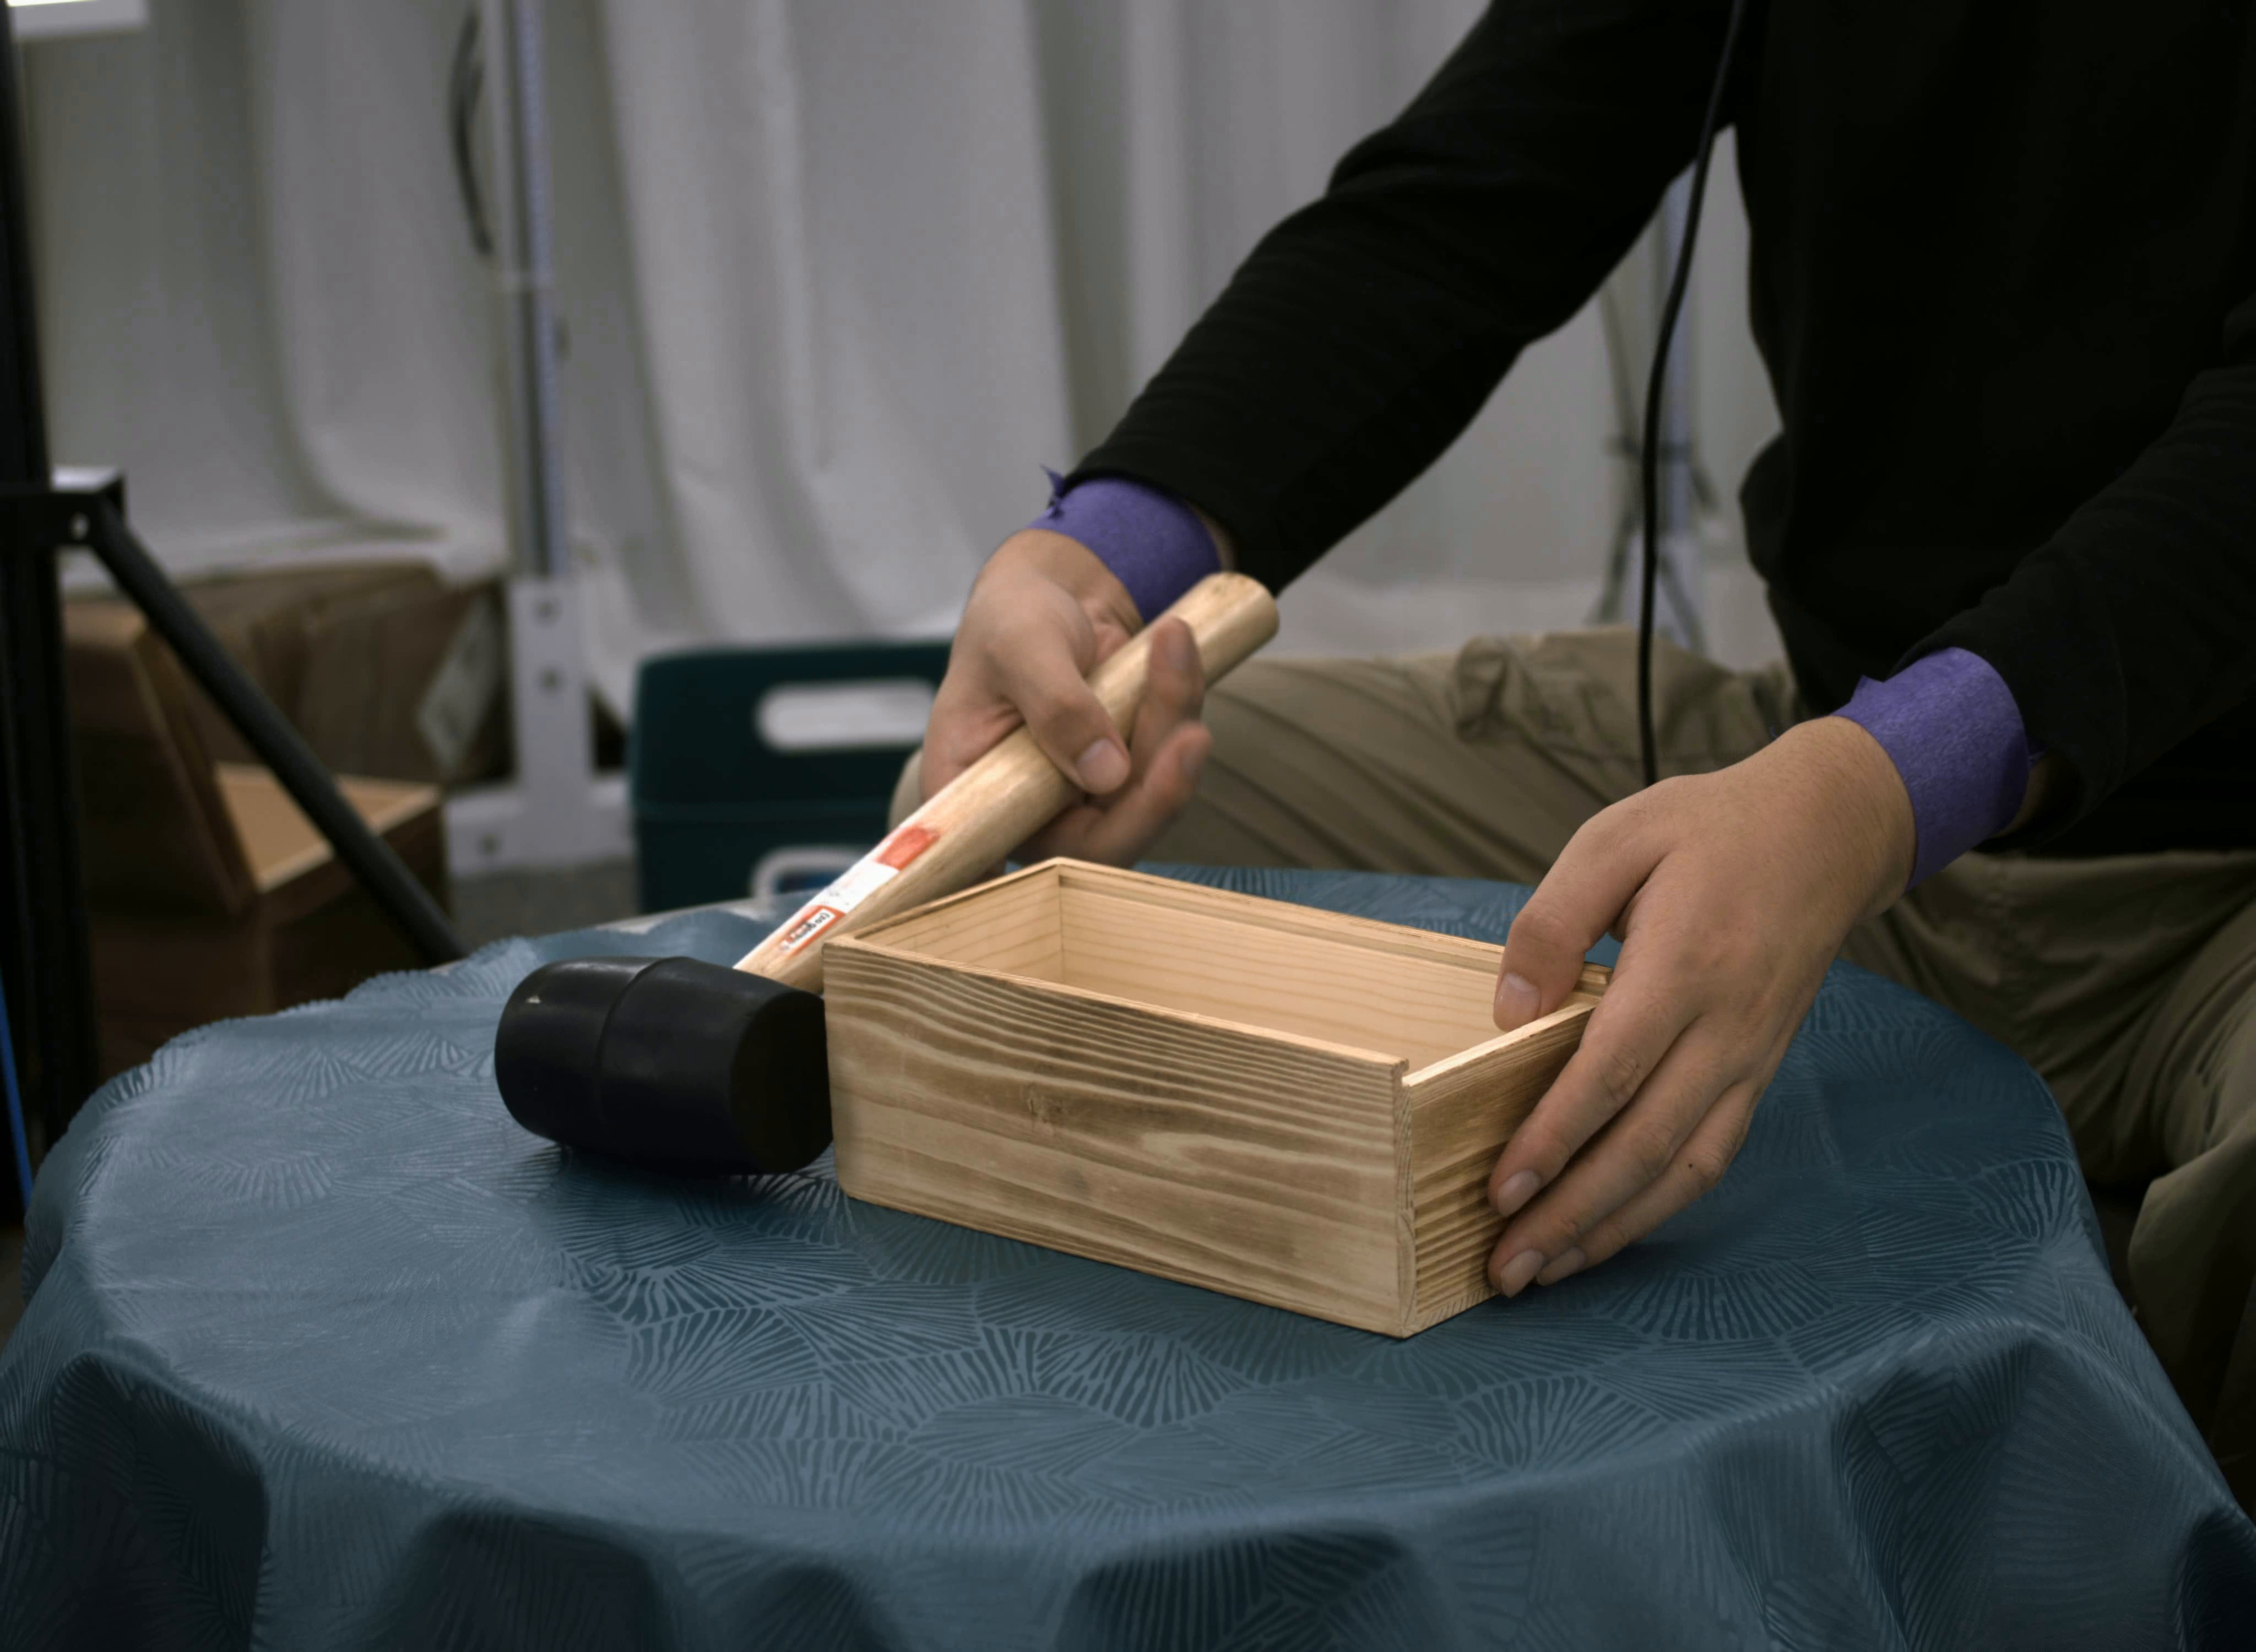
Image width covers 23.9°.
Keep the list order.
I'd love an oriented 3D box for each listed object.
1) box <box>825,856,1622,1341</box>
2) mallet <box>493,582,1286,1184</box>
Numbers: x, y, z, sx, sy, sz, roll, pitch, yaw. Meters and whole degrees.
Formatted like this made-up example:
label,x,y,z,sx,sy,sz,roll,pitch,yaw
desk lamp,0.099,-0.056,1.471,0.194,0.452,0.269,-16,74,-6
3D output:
label,x,y,z,sx,sy,sz,roll,pitch,yaw
box,0.026,0.074,1.523,0.216,0.080,0.105,11,20,40
mallet,-0.059,0.001,1.678,0.104,0.064,0.334,10,37,38
